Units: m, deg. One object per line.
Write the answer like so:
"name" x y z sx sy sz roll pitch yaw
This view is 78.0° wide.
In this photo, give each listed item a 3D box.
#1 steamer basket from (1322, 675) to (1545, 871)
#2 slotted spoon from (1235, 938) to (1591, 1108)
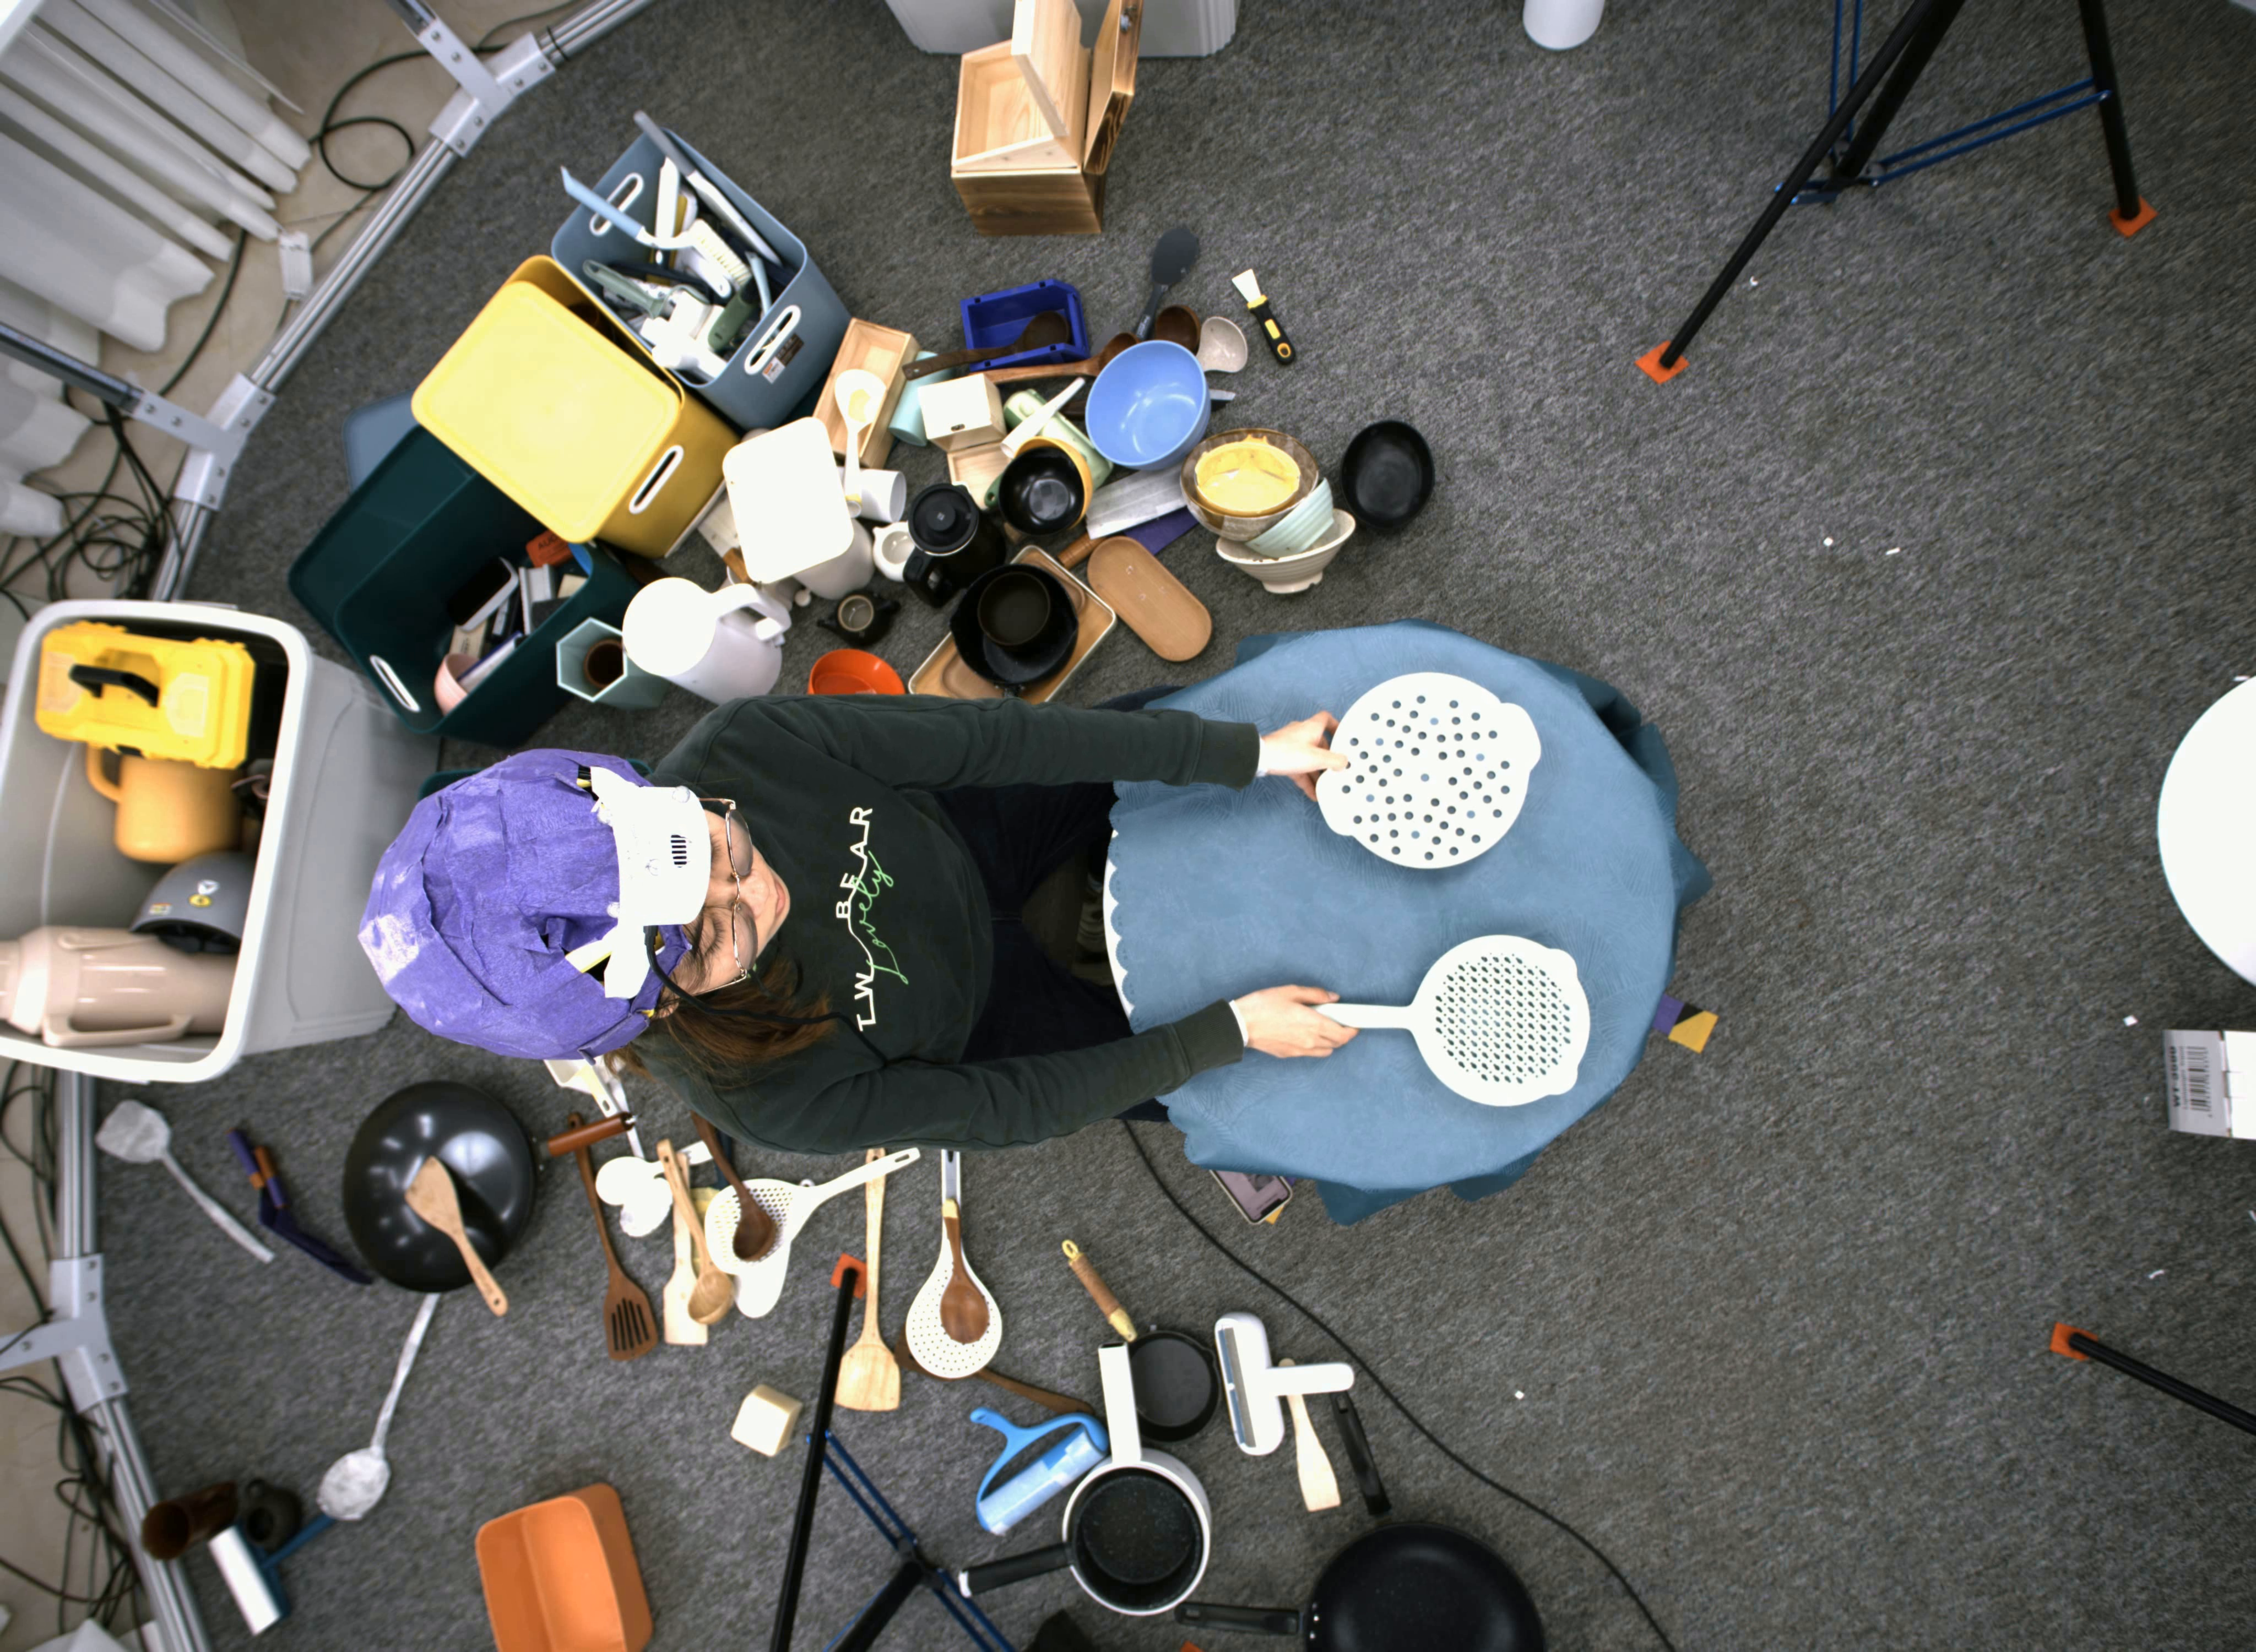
"steamer basket" 0.317 -0.054 1.432 0.232 0.069 0.200 -22 81 8
"slotted spoon" 0.285 0.196 1.420 0.360 0.075 0.168 0 86 10
